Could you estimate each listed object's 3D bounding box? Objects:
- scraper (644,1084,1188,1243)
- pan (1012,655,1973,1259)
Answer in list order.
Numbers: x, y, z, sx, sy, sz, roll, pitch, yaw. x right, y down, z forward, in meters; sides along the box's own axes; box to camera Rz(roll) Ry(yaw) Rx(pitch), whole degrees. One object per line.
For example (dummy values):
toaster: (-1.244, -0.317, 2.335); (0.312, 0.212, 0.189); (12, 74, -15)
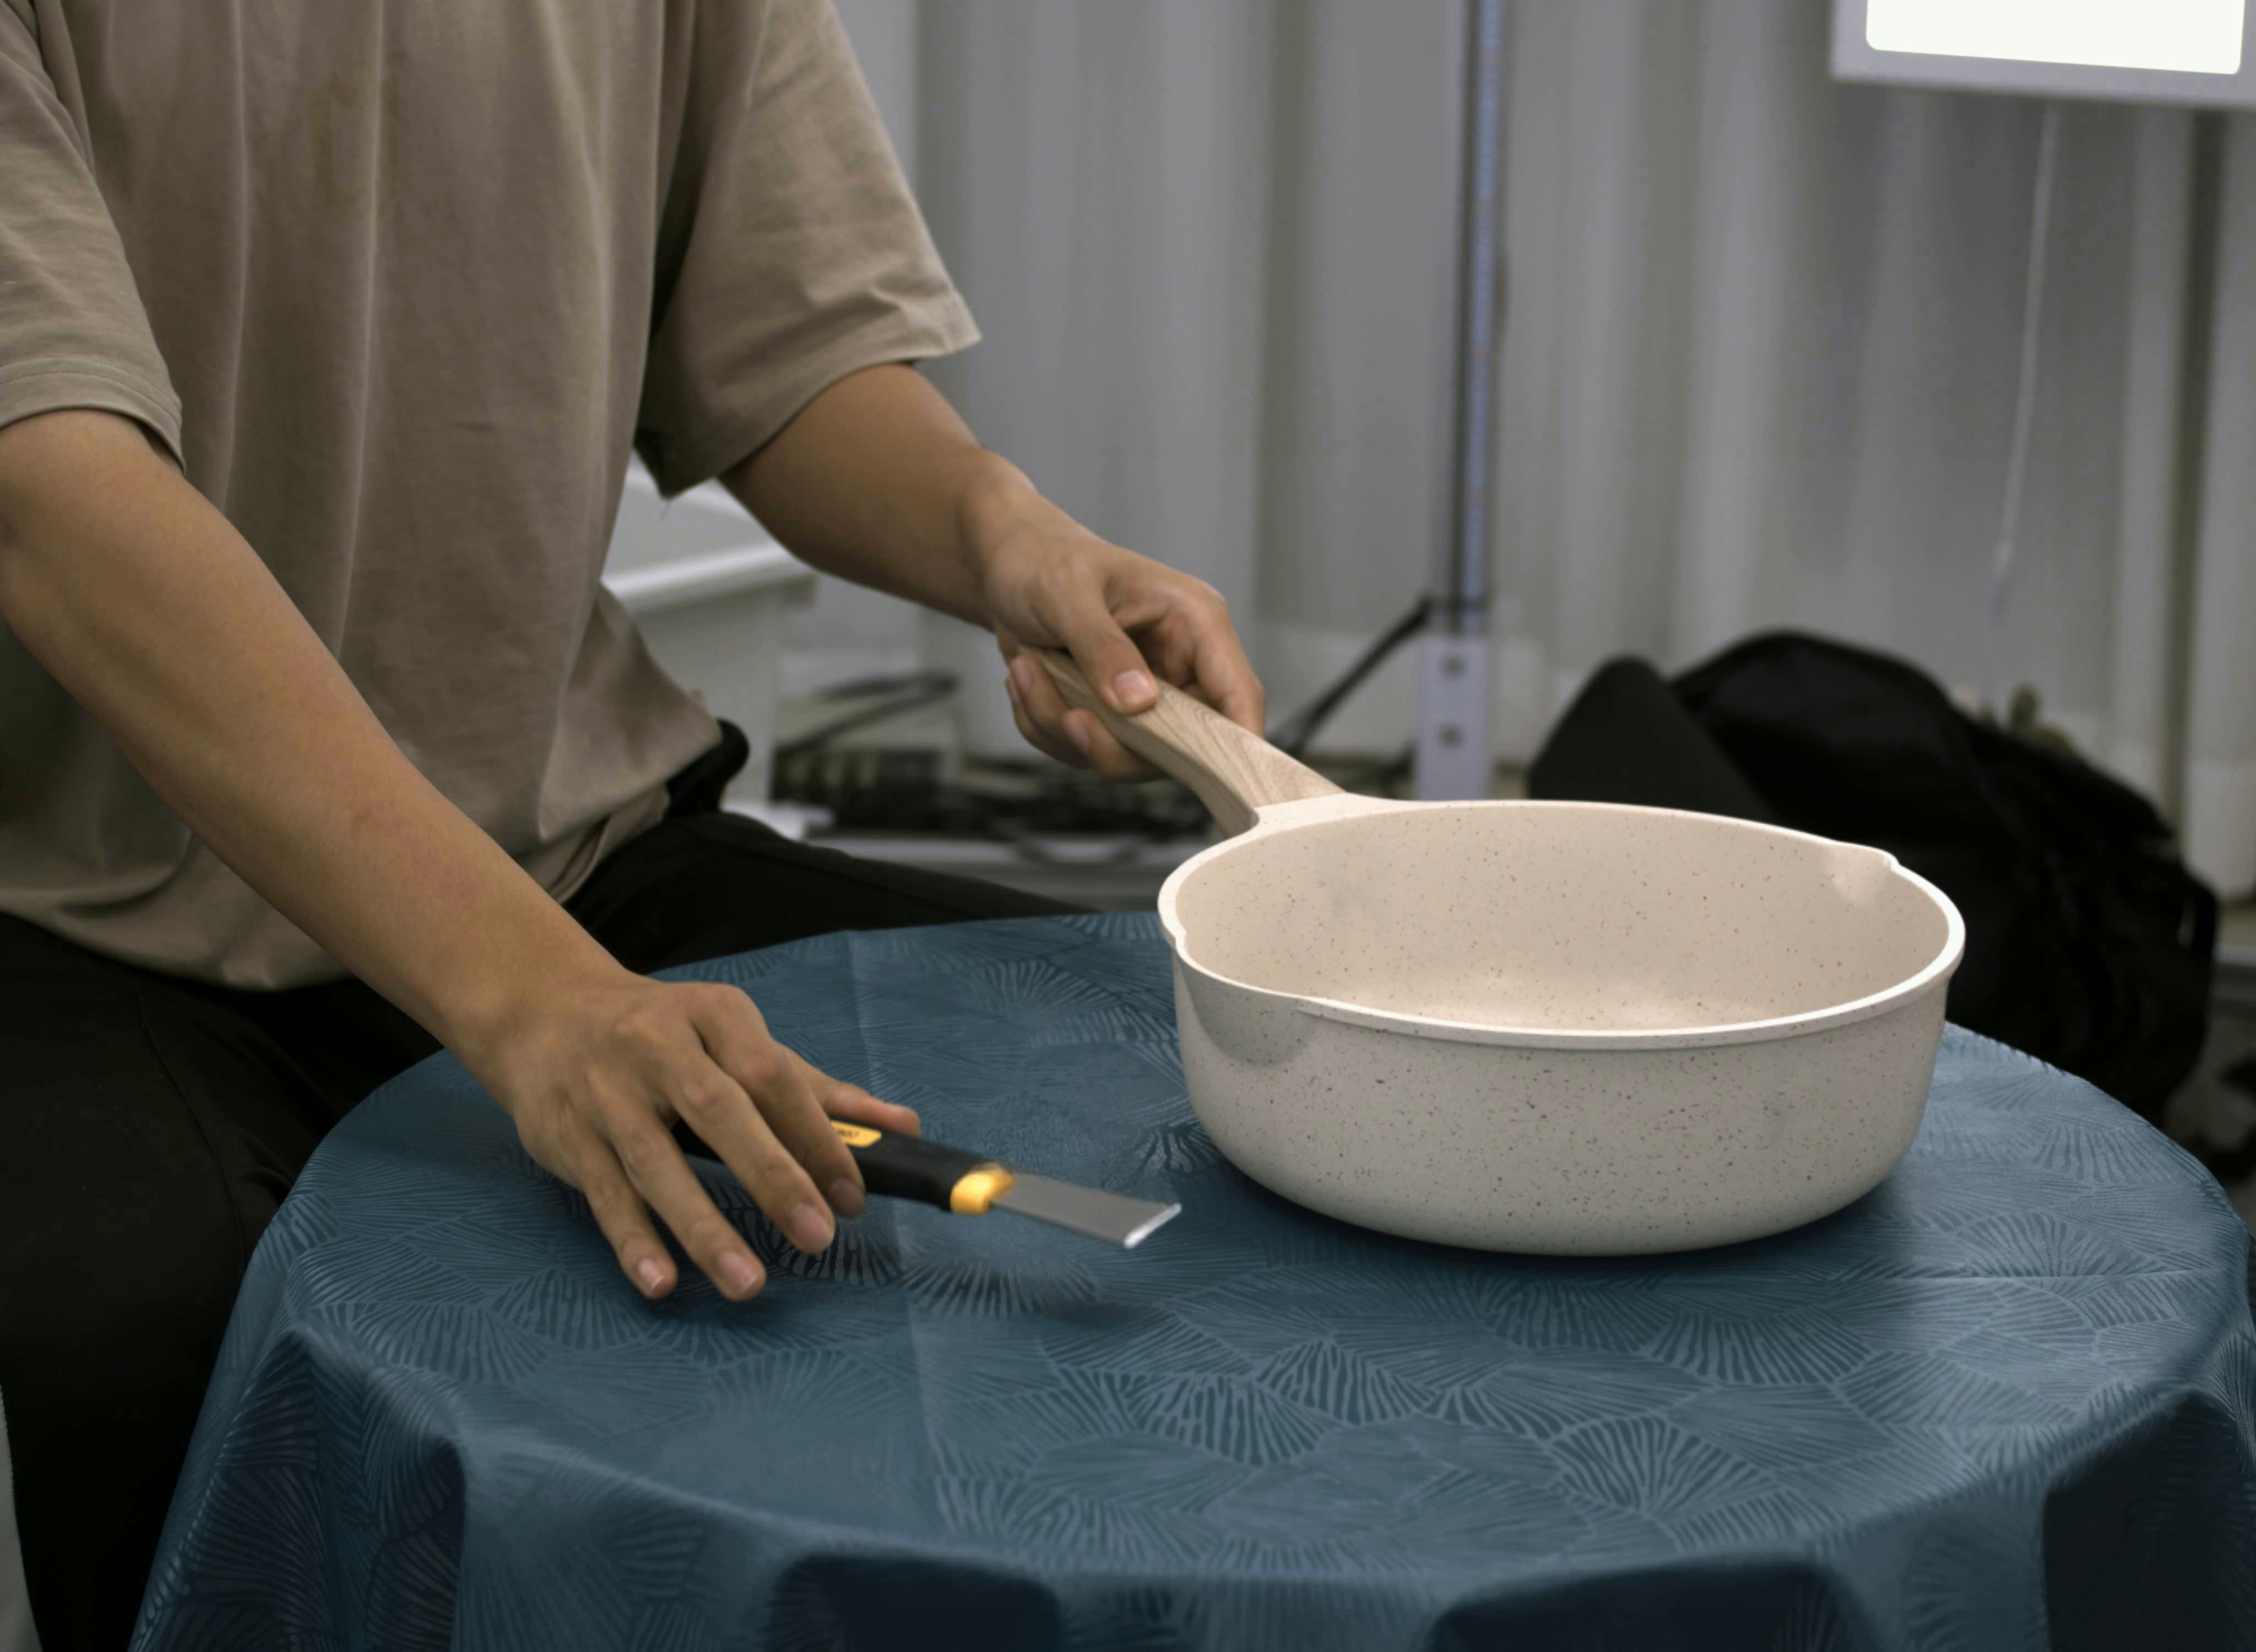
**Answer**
scraper: (-0.066, 0.099, 1.545); (0.169, 0.015, 0.039); (10, 27, 22)
pan: (0.089, 0.037, 1.727); (0.264, 0.103, 0.429); (-12, 20, -31)
